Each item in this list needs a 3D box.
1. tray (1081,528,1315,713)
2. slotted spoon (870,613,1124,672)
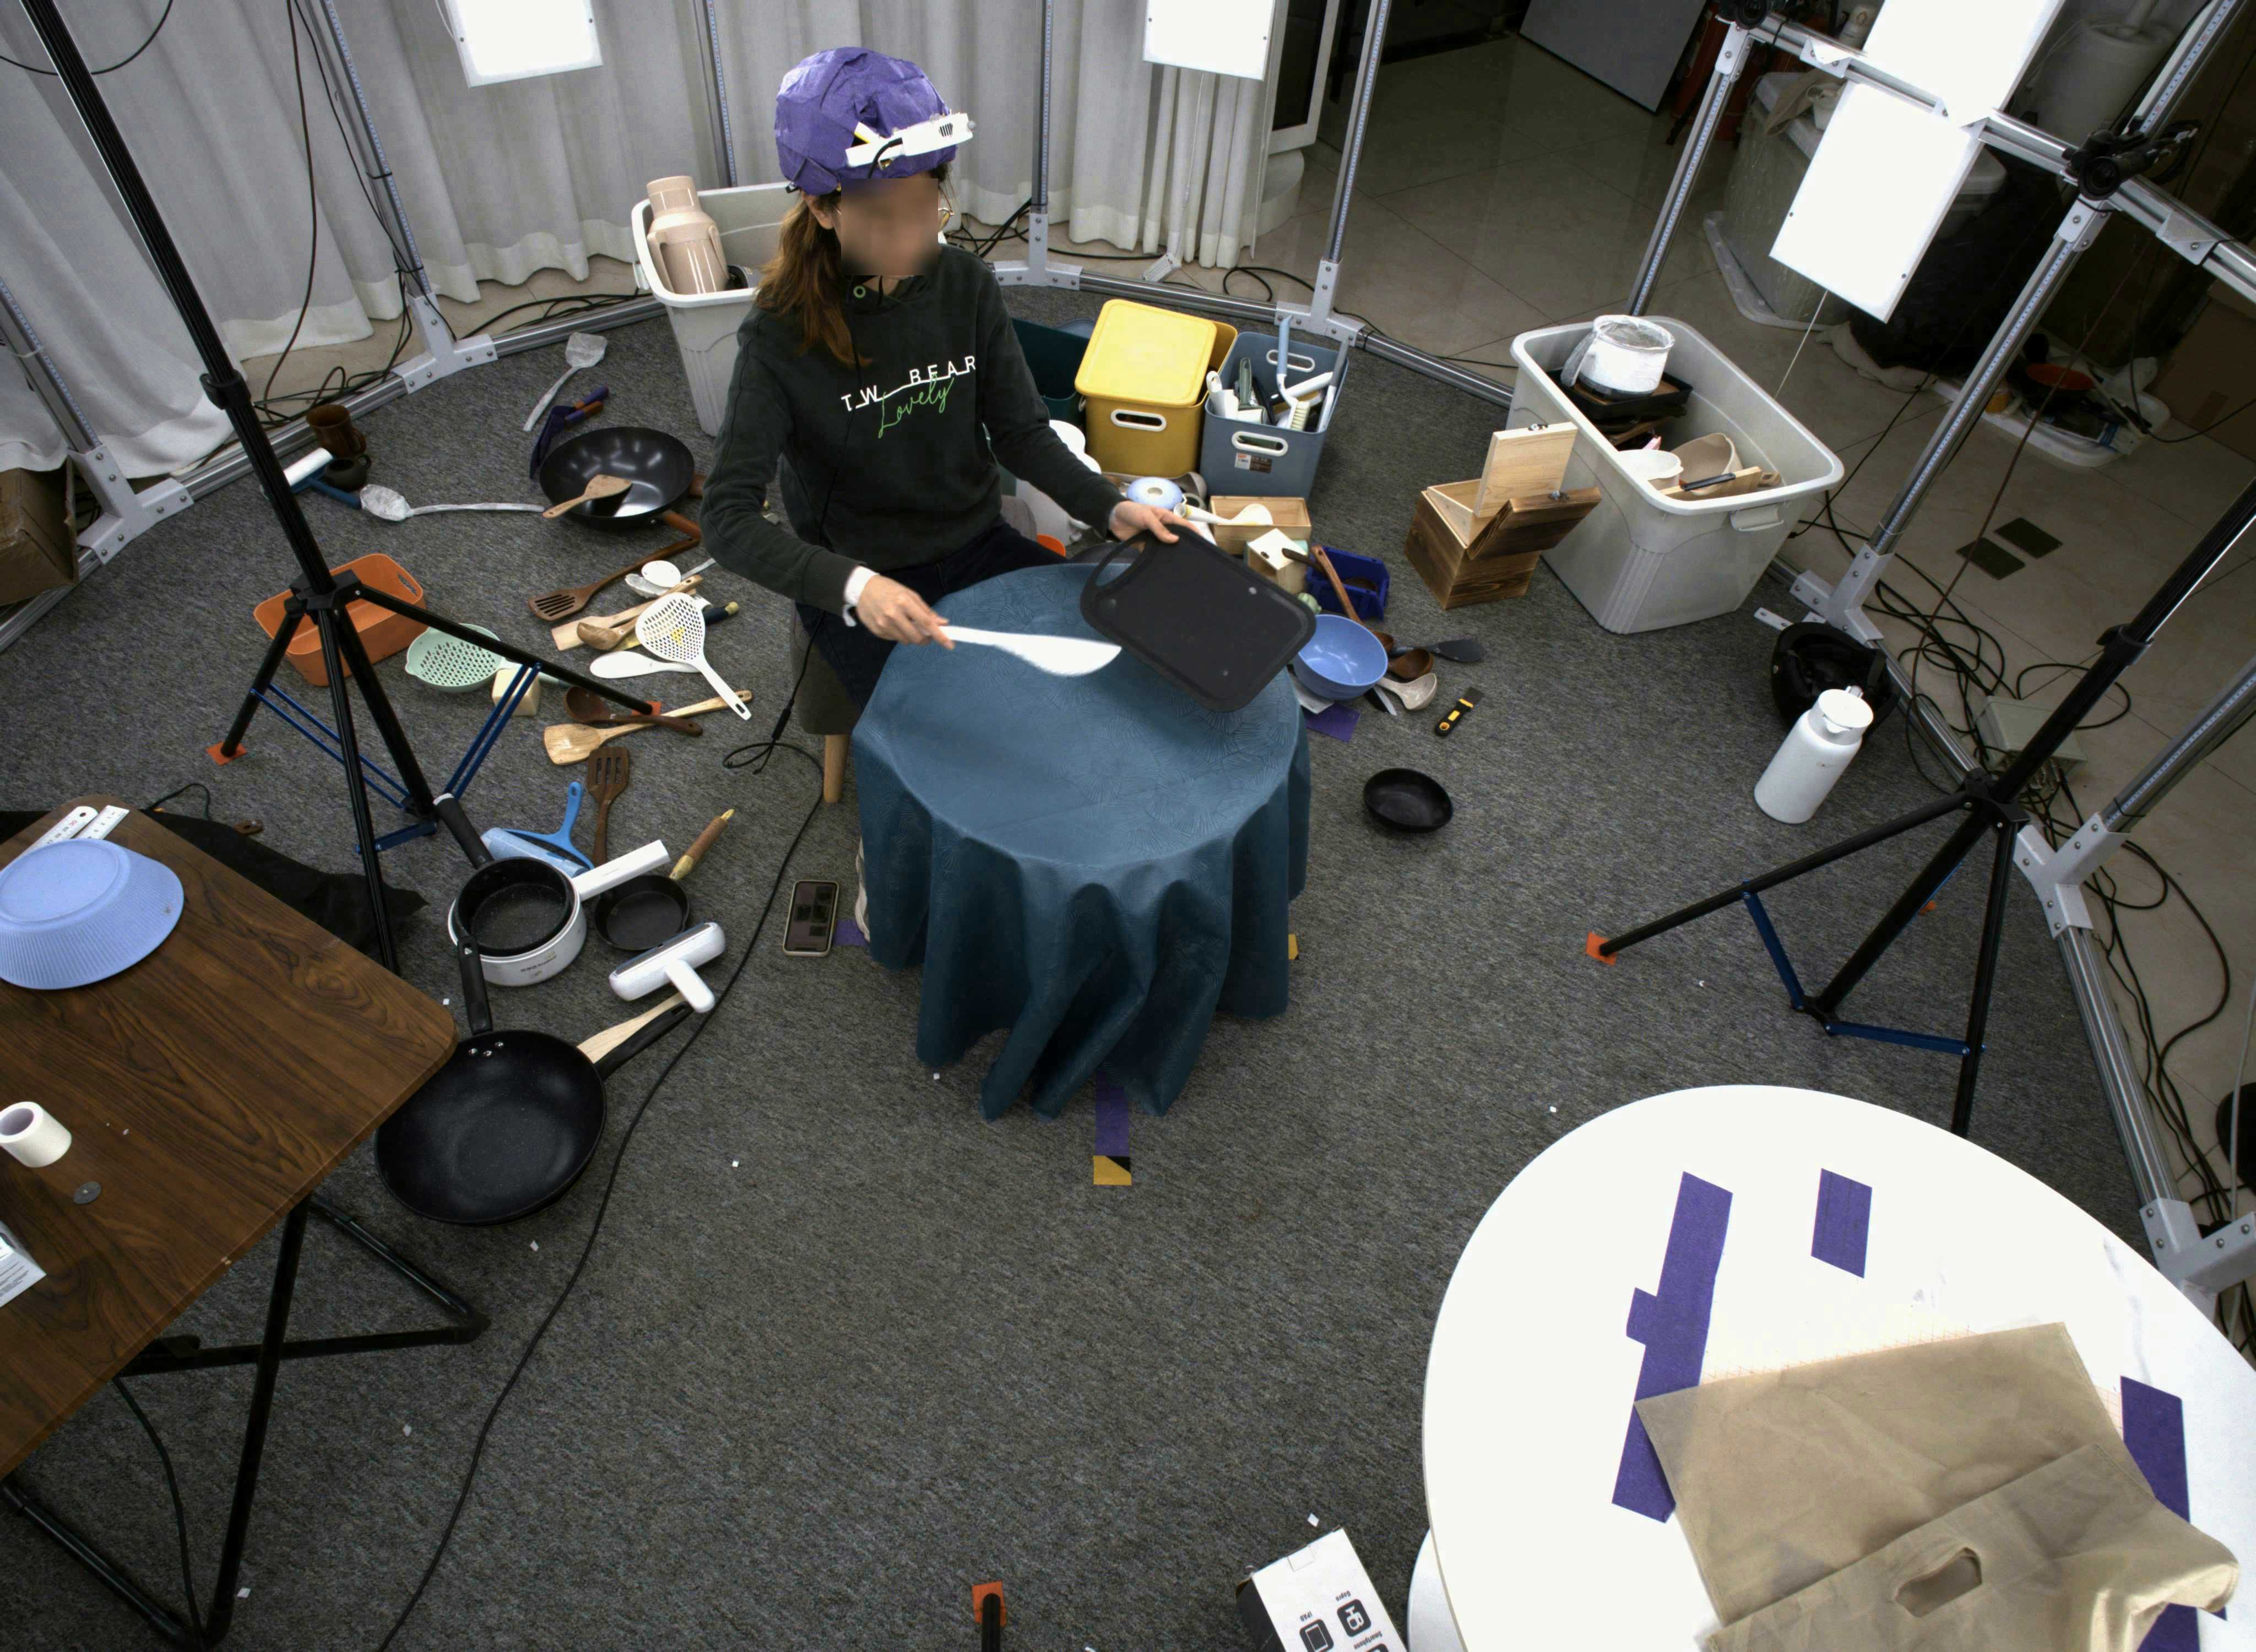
[{"bbox_3d":[0.087,-0.299,1.803,0.330,0.009,0.212,39,74,26],"label":"tray"},{"bbox_3d":[-0.173,-0.244,1.649,0.352,0.045,0.136,15,16,19],"label":"slotted spoon"}]
